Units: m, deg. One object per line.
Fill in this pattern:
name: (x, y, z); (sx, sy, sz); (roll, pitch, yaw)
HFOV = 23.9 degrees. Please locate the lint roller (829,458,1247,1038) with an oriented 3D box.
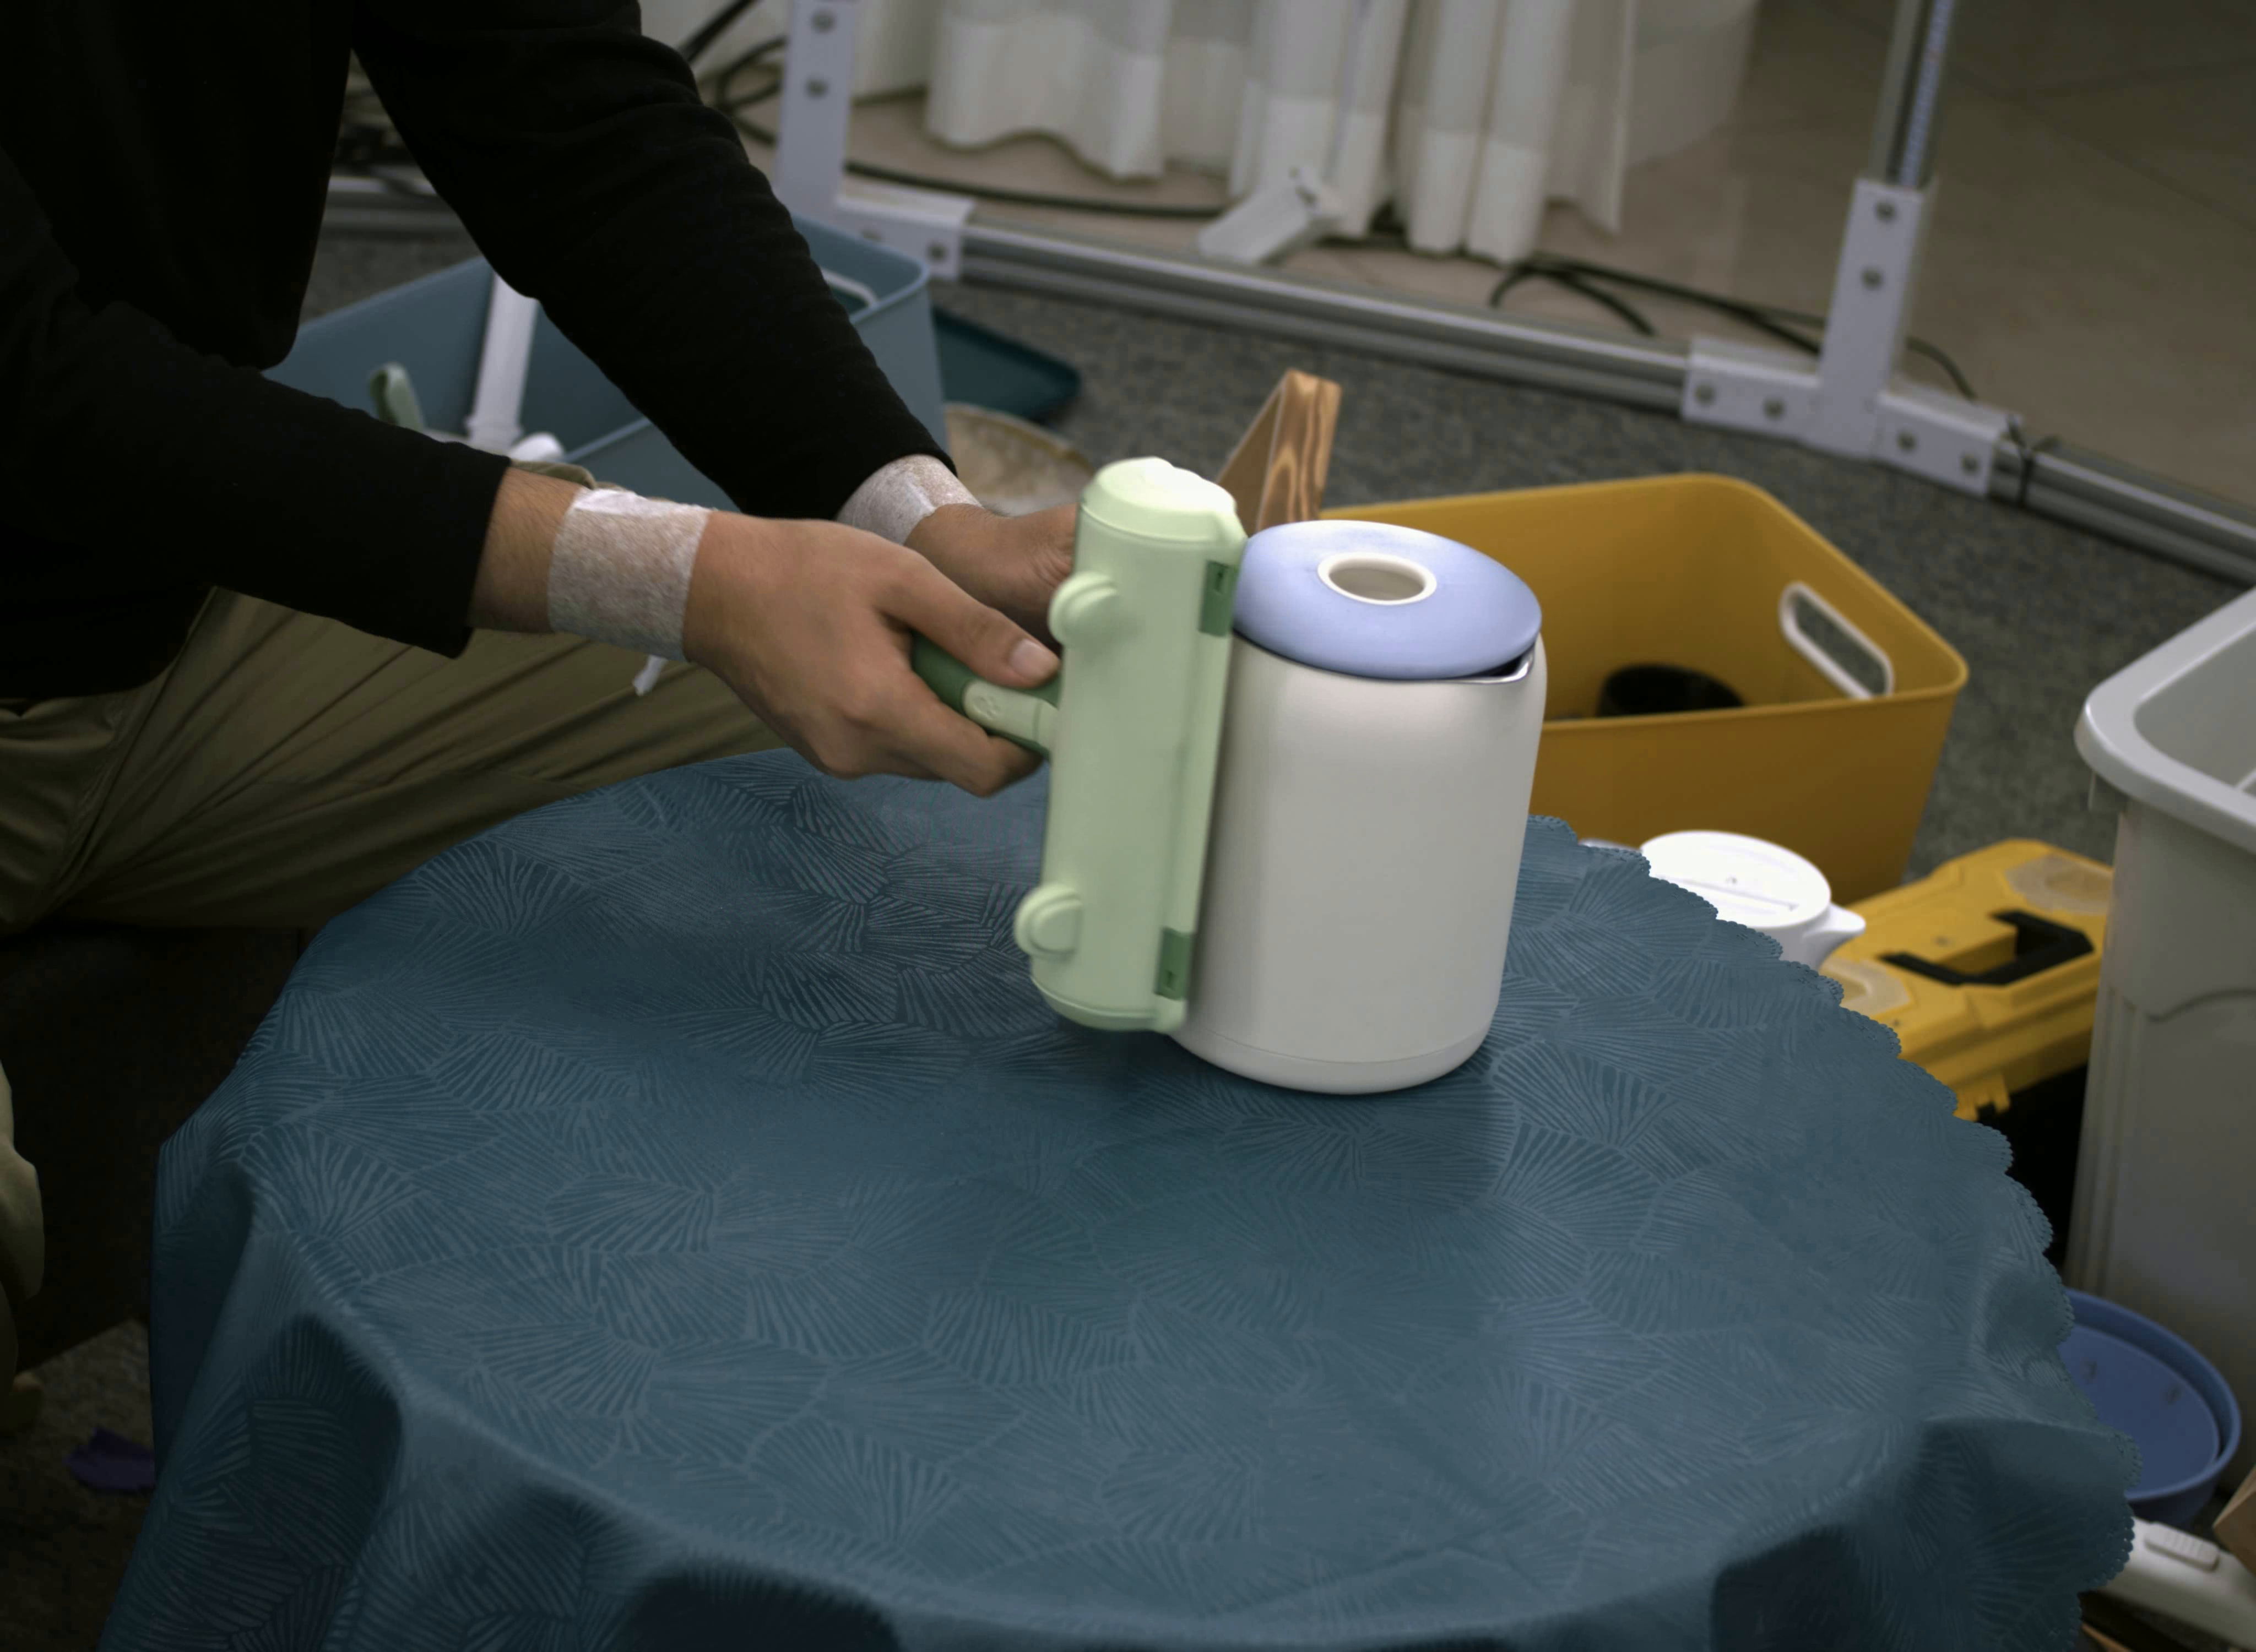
lint roller: (-0.045, -0.039, 1.848); (0.184, 0.198, 0.082); (19, 26, 27)

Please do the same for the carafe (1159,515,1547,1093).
carafe: (0.058, -0.017, 1.902); (0.192, 0.182, 0.131); (25, 31, 35)
